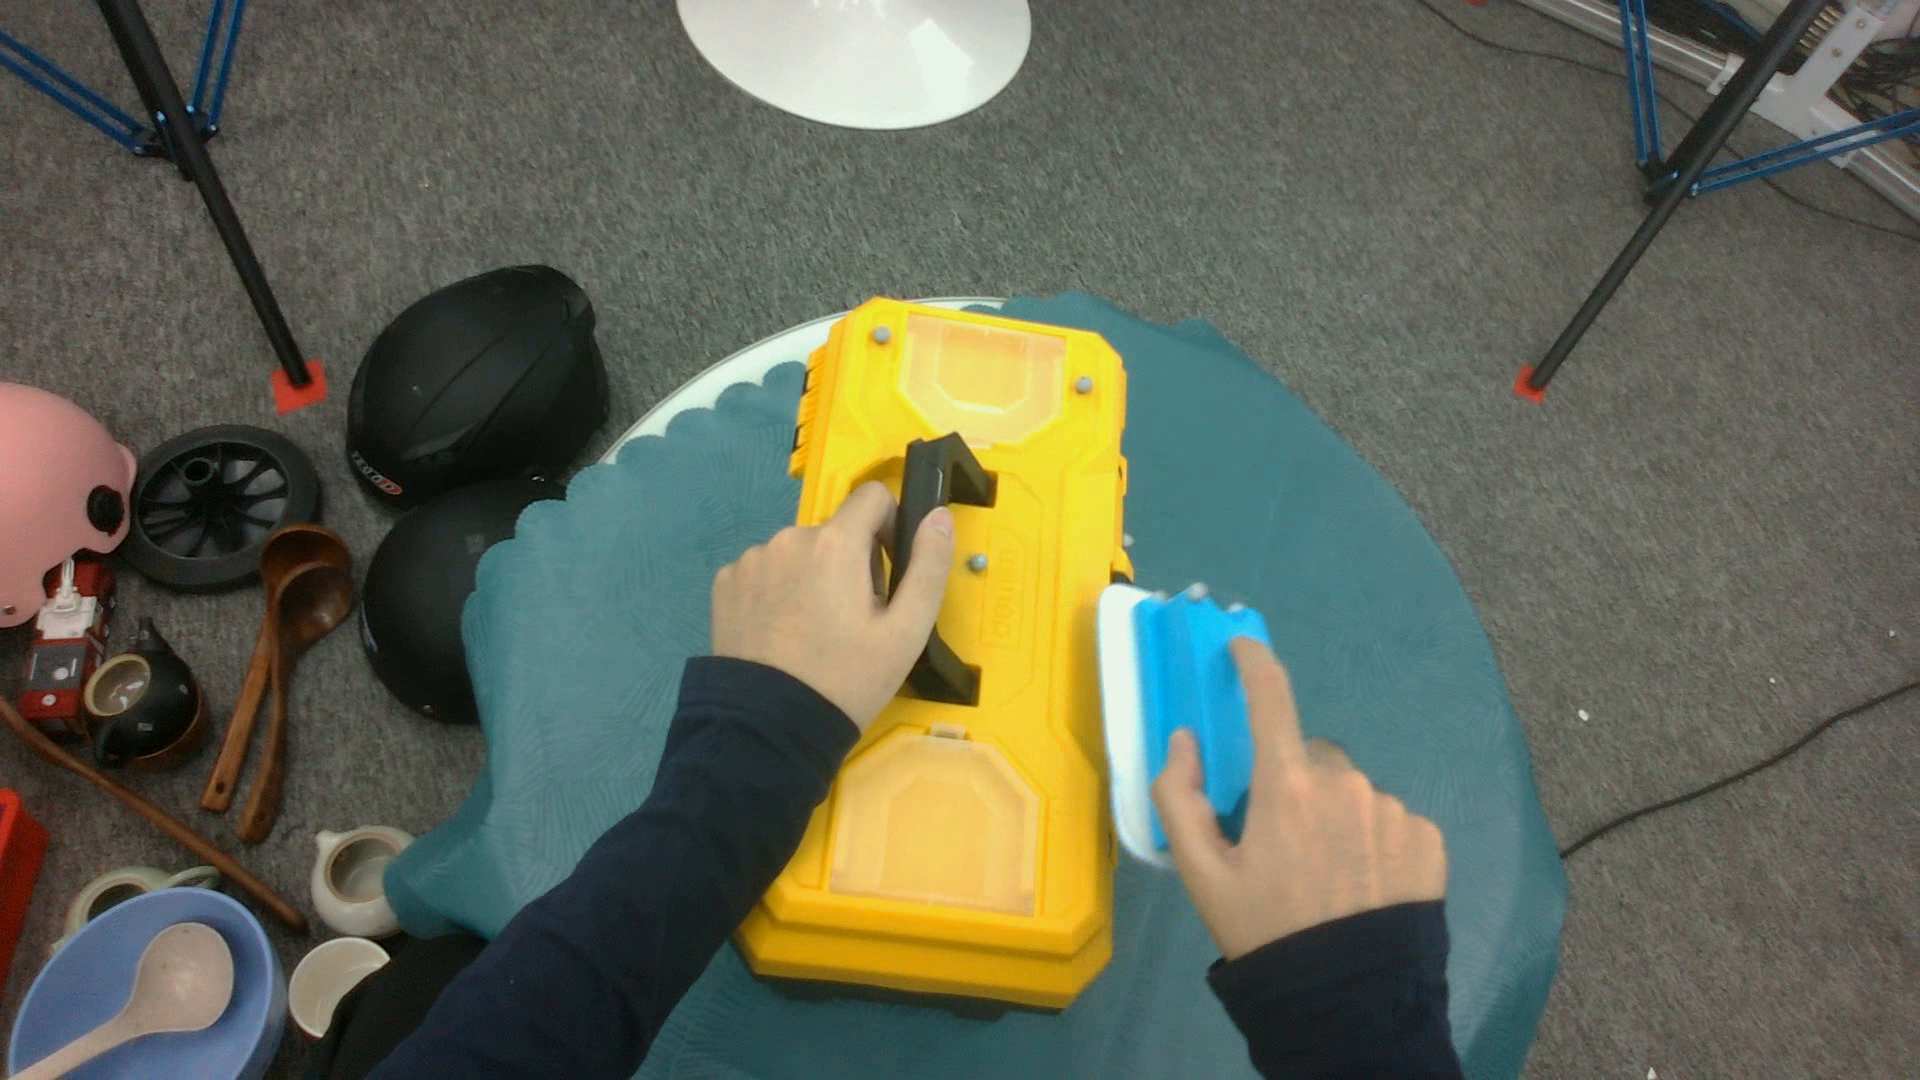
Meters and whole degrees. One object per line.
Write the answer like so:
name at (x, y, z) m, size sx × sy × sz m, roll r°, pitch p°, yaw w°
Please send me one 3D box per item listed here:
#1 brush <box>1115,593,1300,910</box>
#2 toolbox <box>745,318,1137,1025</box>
brush at (0.113, 0.083, 0.596) m, size 0.084 × 0.055 × 0.144 m, roll 18°, pitch 49°, yaw -18°
toolbox at (-0.007, 0.067, 0.719) m, size 0.181 × 0.172 × 0.353 m, roll 7°, pitch 58°, yaw -5°
